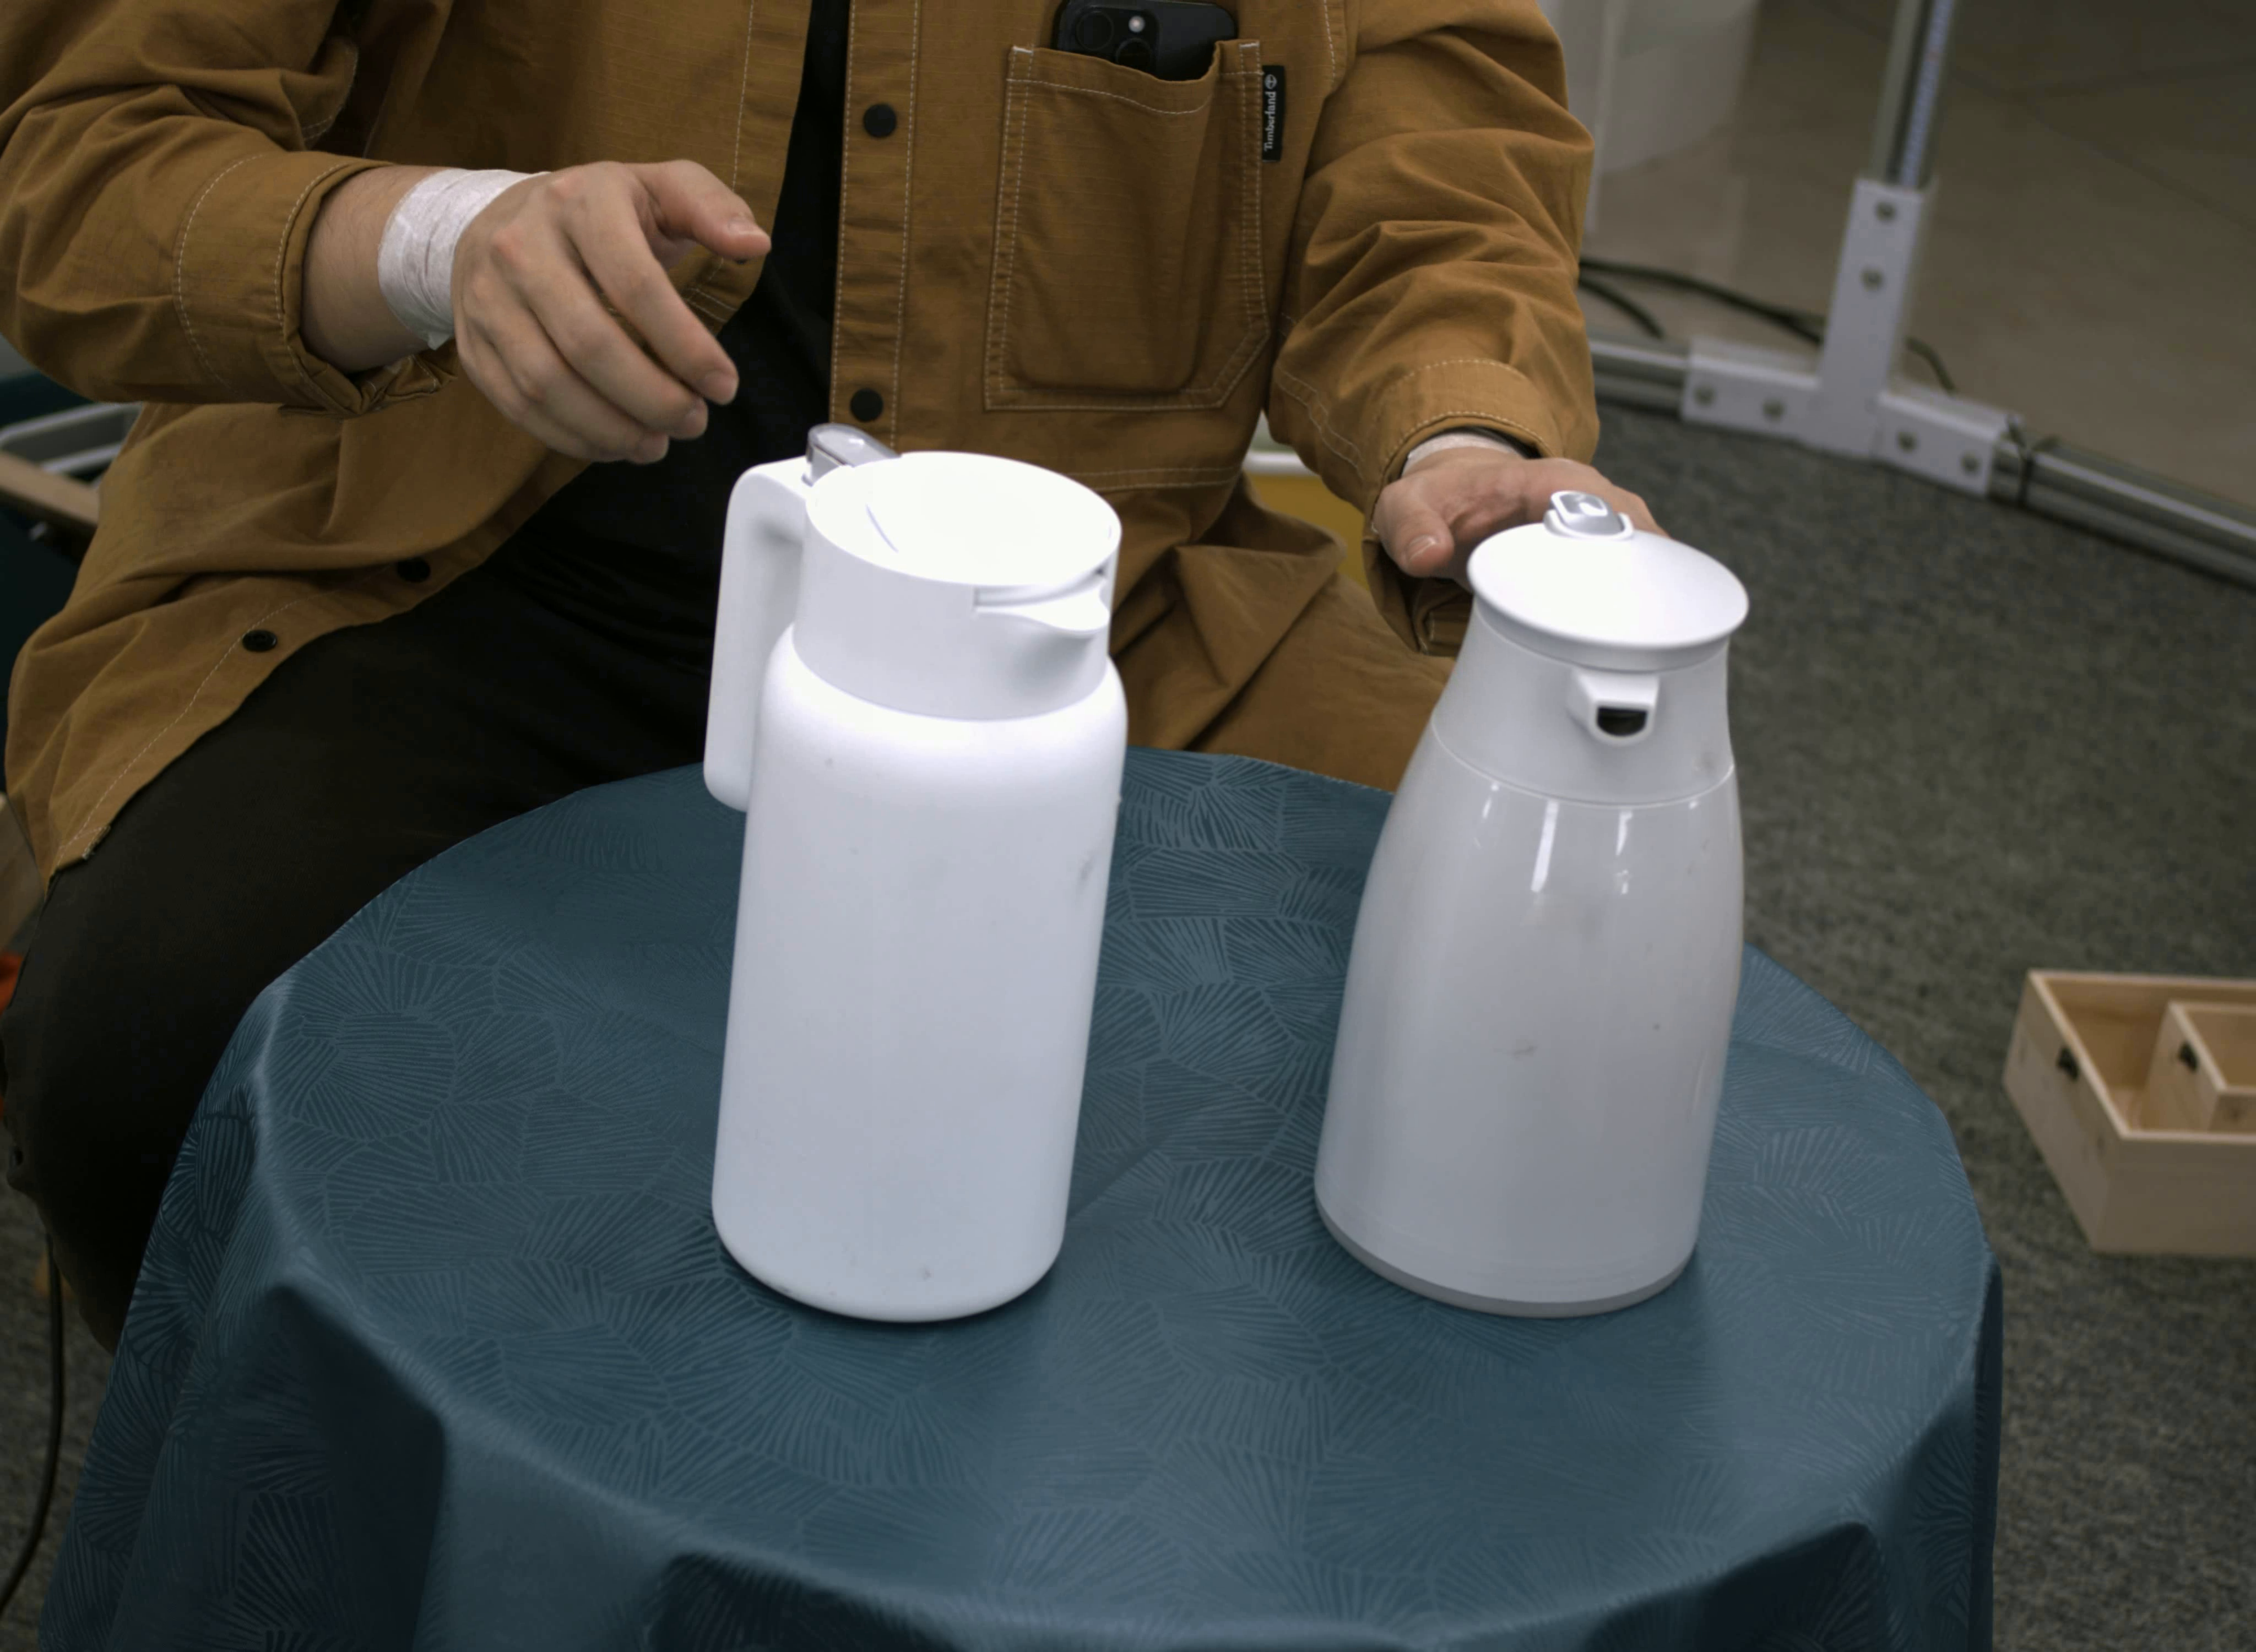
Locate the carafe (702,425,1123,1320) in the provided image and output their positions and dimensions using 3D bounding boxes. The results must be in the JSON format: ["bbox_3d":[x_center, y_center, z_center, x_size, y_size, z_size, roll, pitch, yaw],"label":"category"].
[{"bbox_3d":[-0.079,0.012,1.714,0.123,0.268,0.174,-17,35,-36],"label":"carafe"}]

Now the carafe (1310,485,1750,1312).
[{"bbox_3d":[0.139,0.013,1.778,0.132,0.248,0.169,4,26,-5],"label":"carafe"}]
